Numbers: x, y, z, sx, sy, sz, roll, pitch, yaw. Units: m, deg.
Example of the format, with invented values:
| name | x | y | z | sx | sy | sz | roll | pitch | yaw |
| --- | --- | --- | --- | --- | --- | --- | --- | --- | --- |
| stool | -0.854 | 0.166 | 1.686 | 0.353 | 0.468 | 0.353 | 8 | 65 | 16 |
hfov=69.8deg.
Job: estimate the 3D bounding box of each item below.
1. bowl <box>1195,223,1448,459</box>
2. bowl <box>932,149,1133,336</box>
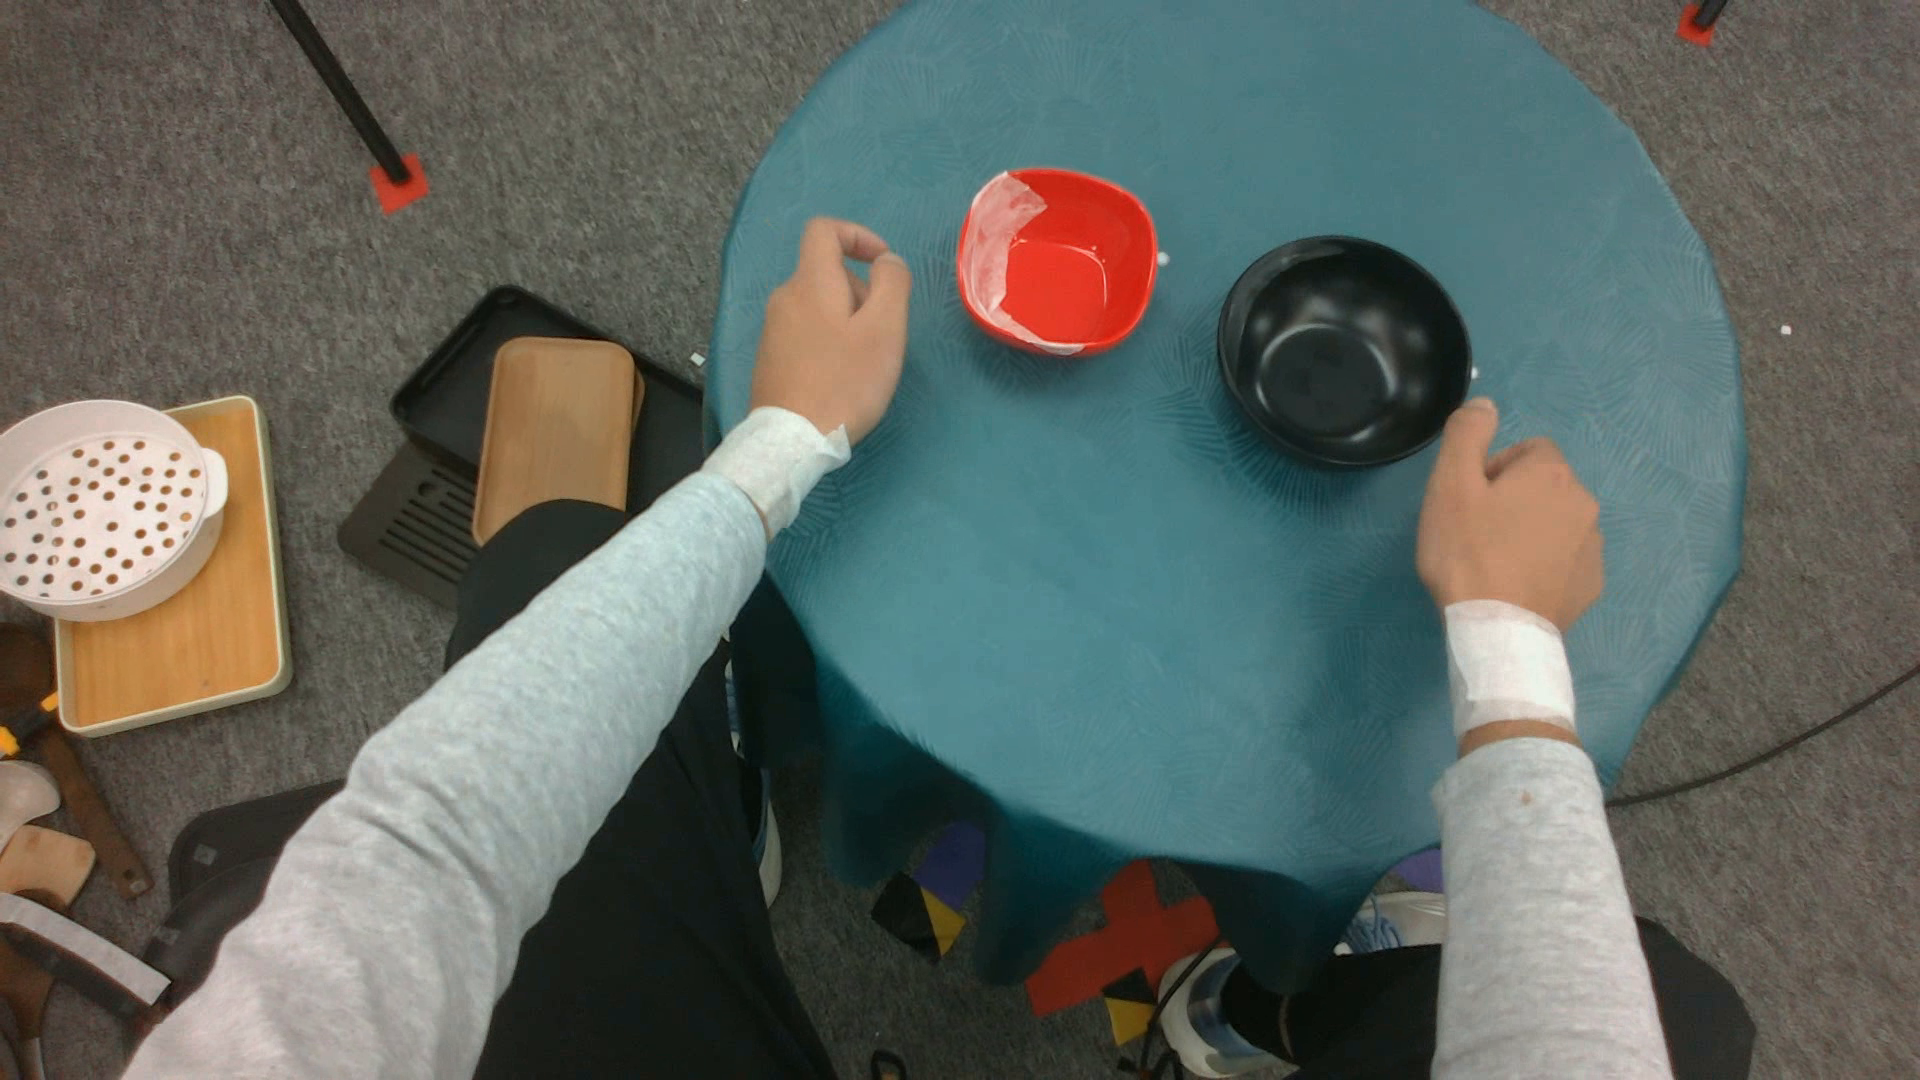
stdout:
| name | x | y | z | sx | sy | sz | roll | pitch | yaw |
| --- | --- | --- | --- | --- | --- | --- | --- | --- | --- |
| bowl | 0.197 | -0.105 | 0.774 | 0.140 | 0.049 | 0.140 | 1 | 73 | -2 |
| bowl | 0.038 | -0.159 | 0.777 | 0.119 | 0.051 | 0.119 | 2 | 69 | -5 |
